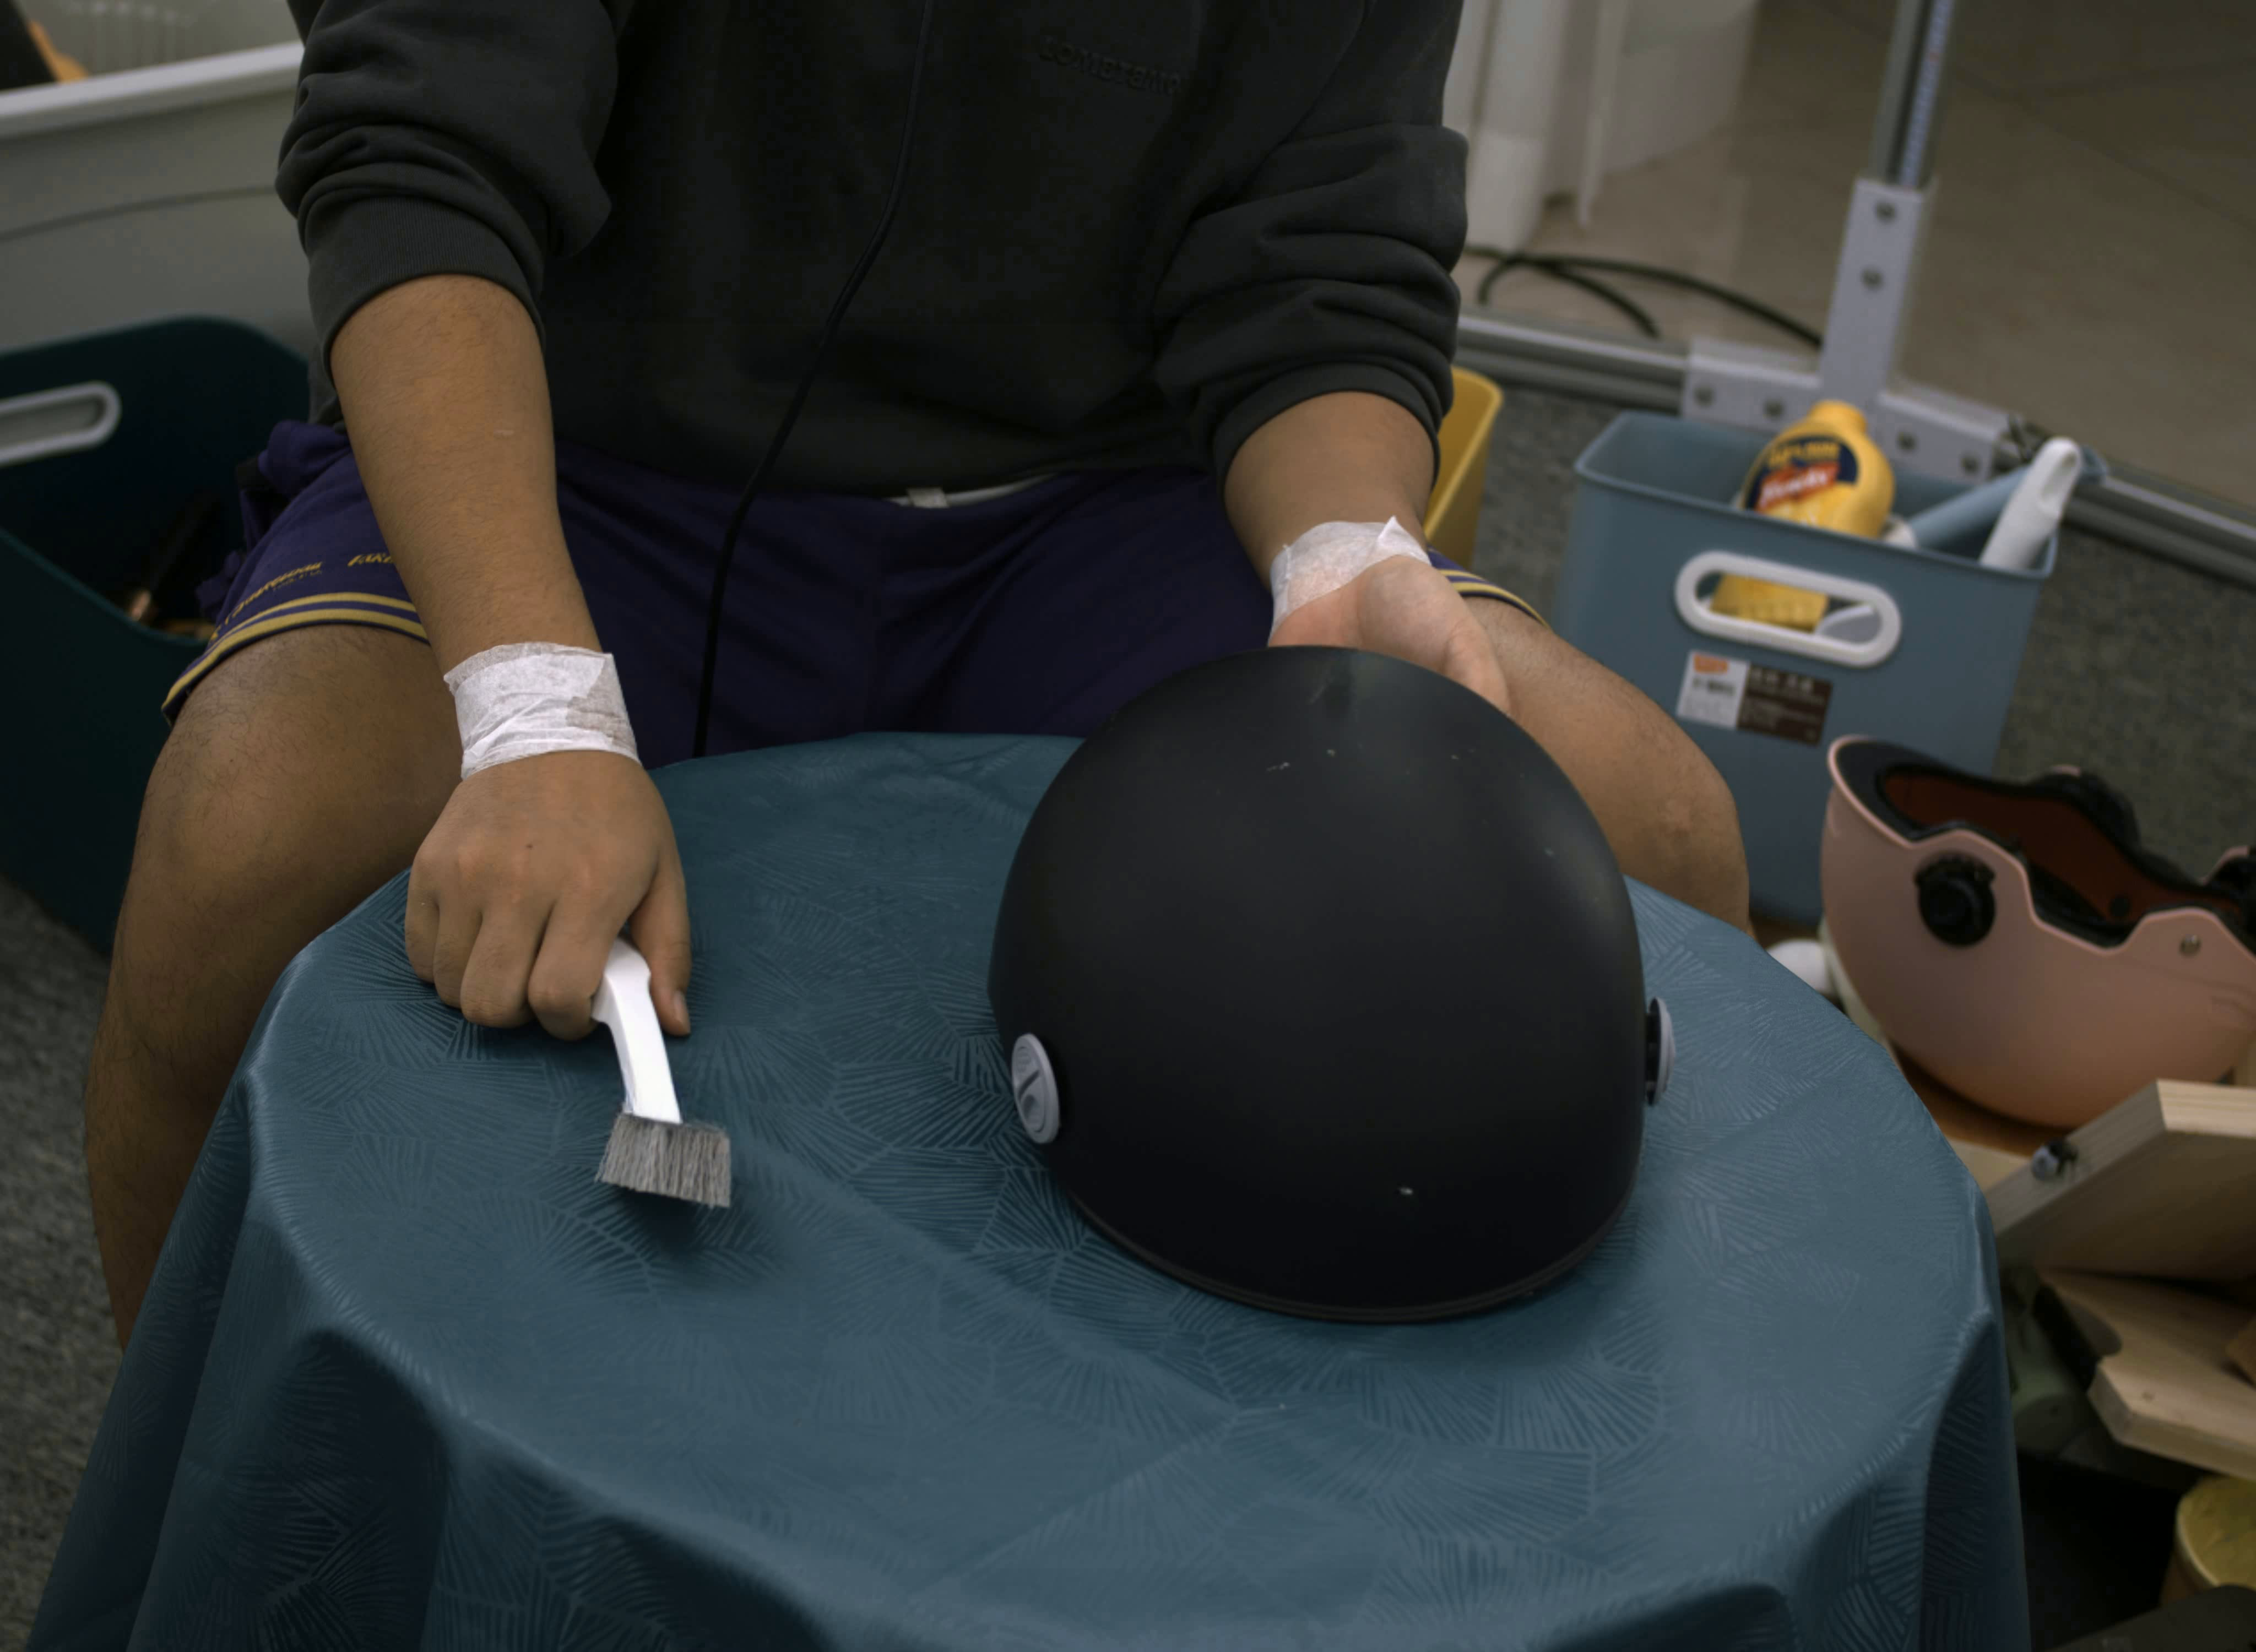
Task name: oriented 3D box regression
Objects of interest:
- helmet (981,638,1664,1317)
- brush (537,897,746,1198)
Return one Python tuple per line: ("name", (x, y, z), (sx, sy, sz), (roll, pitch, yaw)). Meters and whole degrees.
("helmet", (0.067, 0.033, 1.821), (0.229, 0.166, 0.275), (-2, 30, -9))
("brush", (-0.175, 0.079, 1.825), (0.034, 0.050, 0.245), (12, 11, -20))
